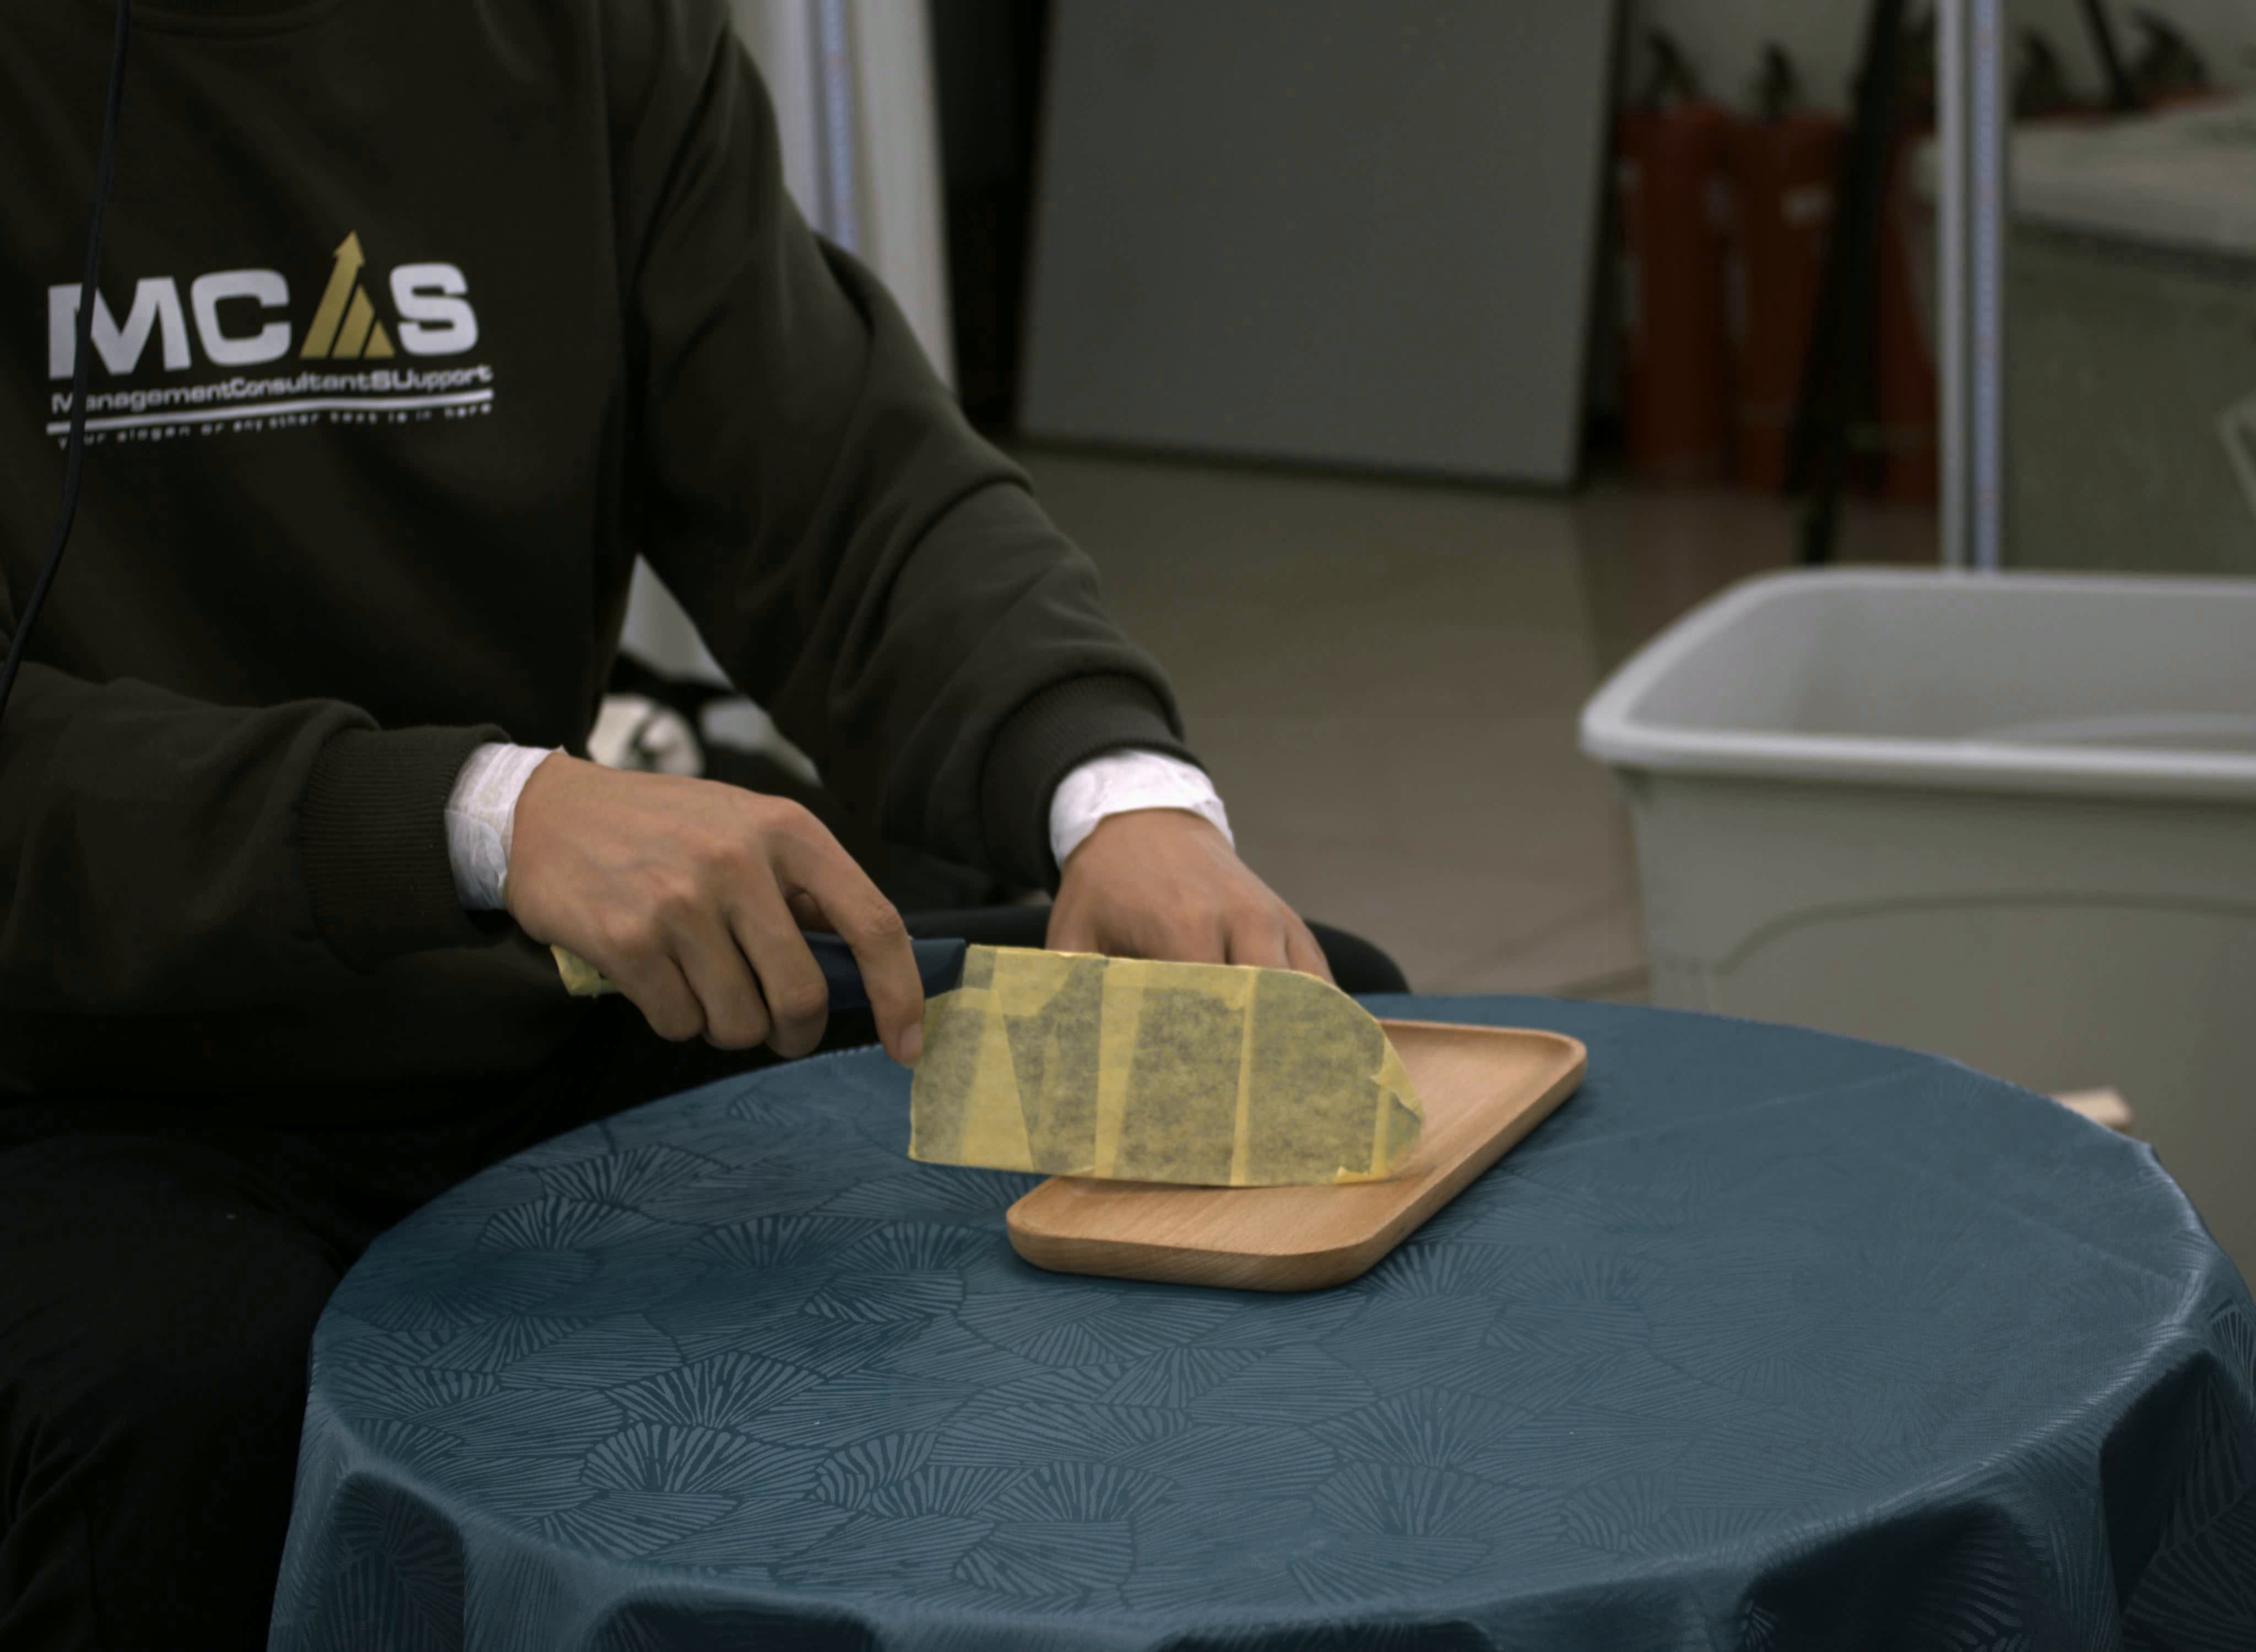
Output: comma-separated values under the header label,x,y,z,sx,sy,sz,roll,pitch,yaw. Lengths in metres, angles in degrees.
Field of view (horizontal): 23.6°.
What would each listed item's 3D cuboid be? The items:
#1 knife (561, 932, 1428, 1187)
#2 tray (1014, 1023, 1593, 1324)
label,x,y,z,sx,sy,sz,roll,pitch,yaw
knife,-0.044,0.074,1.748,0.286,0.082,0.027,7,-2,5
tray,0.062,0.112,1.780,0.131,0.023,0.248,-1,17,26
